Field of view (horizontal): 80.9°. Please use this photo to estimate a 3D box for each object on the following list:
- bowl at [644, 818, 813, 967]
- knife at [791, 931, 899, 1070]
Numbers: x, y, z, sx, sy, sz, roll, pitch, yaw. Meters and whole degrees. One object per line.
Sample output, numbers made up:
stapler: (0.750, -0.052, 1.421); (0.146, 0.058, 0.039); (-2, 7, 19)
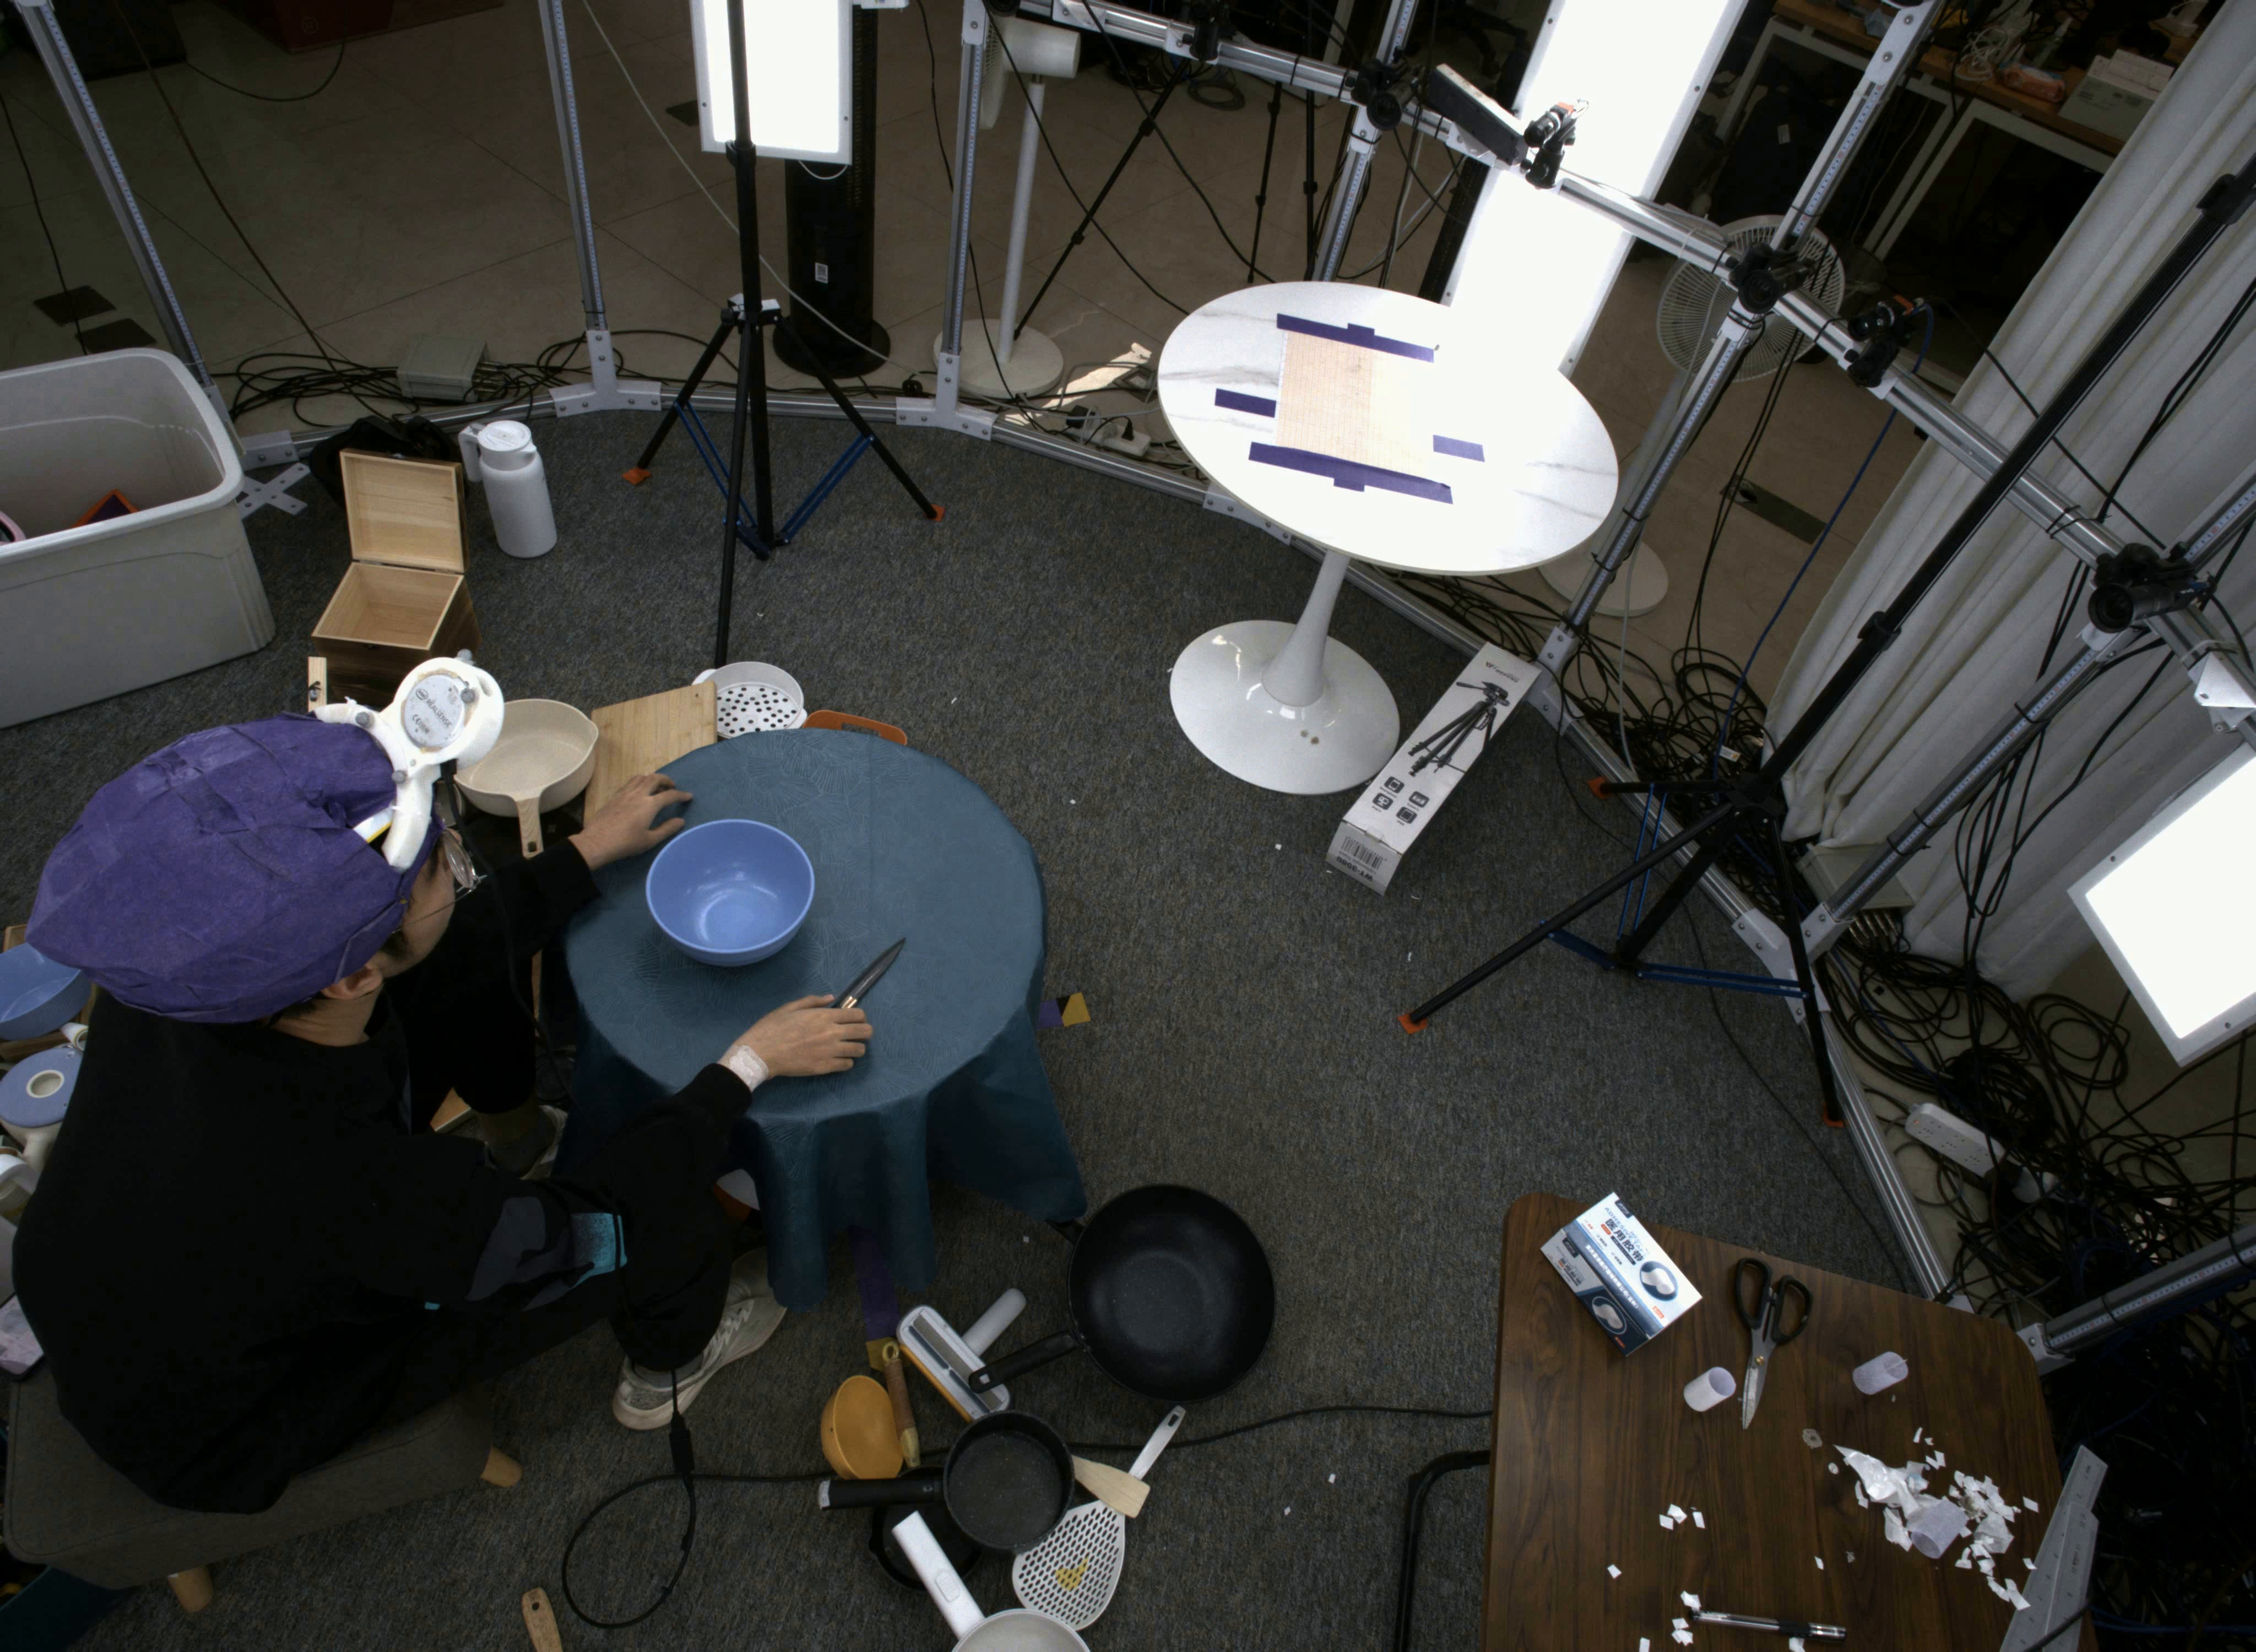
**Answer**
bowl: (-0.481, 0.094, 1.563); (0.196, 0.097, 0.193); (9, 49, -9)
knife: (-0.337, 0.205, 1.576); (0.026, 0.017, 0.224); (27, 51, 10)
